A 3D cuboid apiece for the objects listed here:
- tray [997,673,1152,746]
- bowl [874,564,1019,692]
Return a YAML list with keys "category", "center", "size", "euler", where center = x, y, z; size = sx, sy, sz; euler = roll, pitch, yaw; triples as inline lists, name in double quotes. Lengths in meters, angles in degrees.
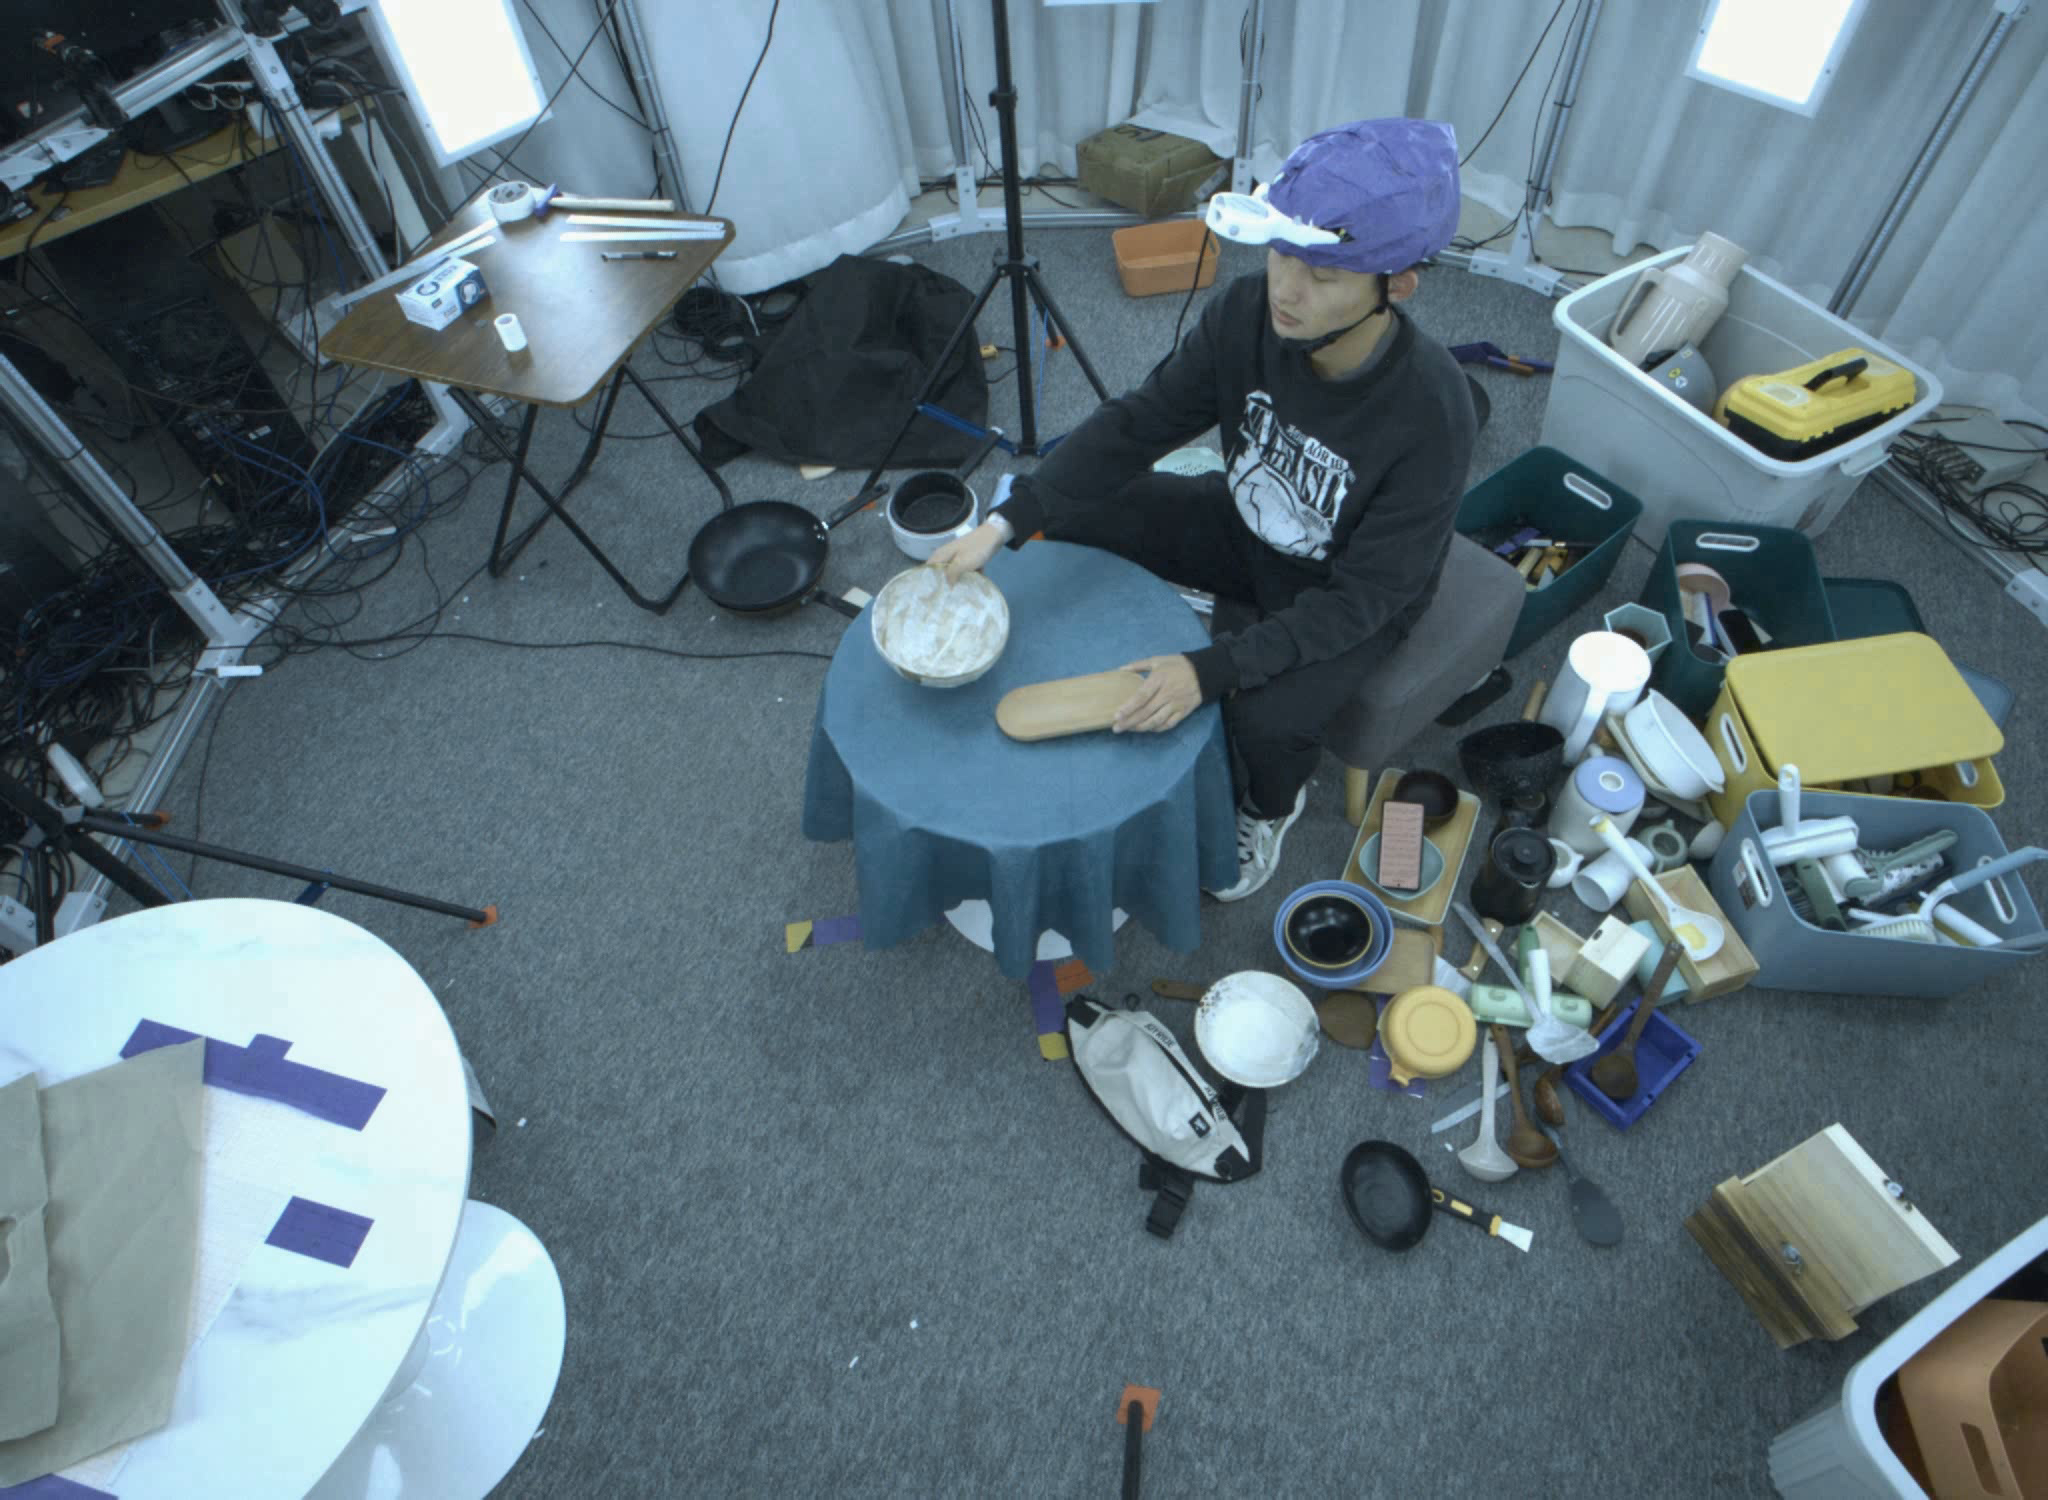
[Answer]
- category: "tray"
  center: [0.074, -0.059, 1.815]
  size: [0.231, 0.020, 0.100]
  euler: [-12, 49, 2]
- category: "bowl"
  center: [-0.116, -0.164, 1.823]
  size: [0.215, 0.095, 0.213]
  euler: [3, 64, -4]
